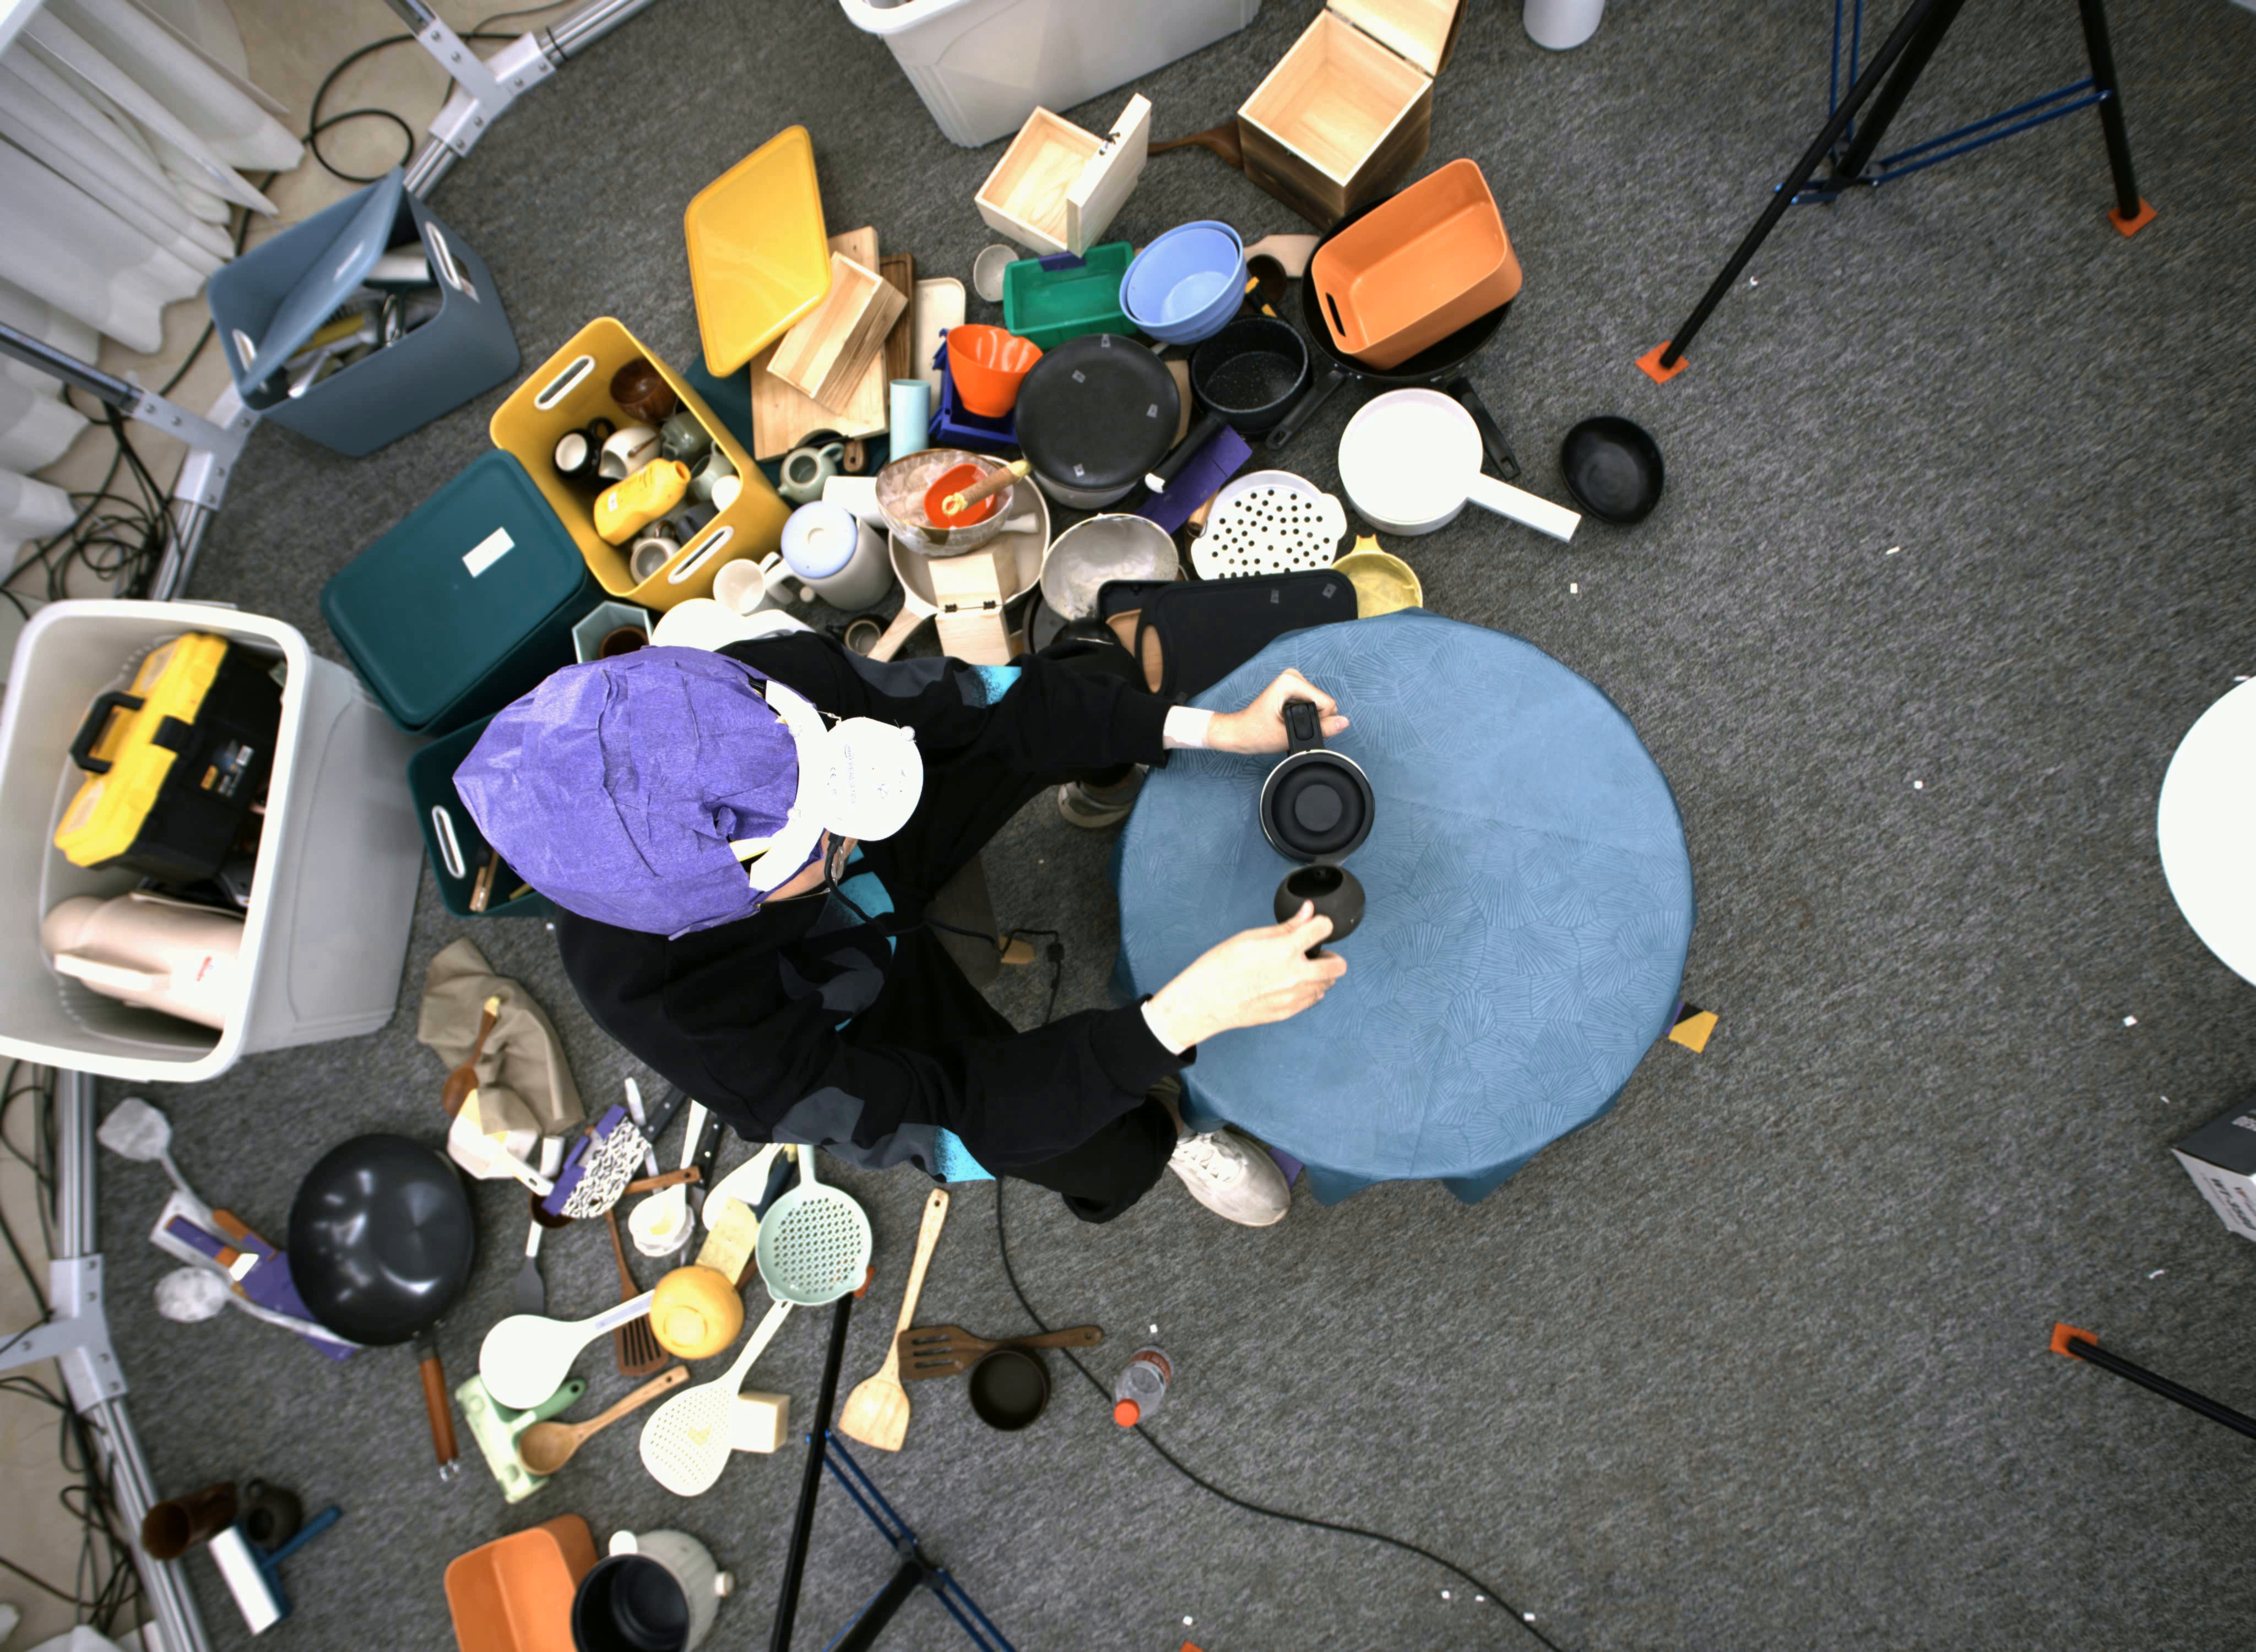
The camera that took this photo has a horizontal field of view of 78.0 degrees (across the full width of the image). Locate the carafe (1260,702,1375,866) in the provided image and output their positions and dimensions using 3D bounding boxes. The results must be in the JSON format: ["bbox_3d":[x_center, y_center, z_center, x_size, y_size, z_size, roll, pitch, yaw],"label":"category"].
[{"bbox_3d":[0.181,-0.039,1.365,0.115,0.172,0.171,-11,91,8],"label":"carafe"}]

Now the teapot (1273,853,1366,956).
[{"bbox_3d":[0.167,0.072,1.228,0.083,0.111,0.054,-2,122,24],"label":"teapot"}]
